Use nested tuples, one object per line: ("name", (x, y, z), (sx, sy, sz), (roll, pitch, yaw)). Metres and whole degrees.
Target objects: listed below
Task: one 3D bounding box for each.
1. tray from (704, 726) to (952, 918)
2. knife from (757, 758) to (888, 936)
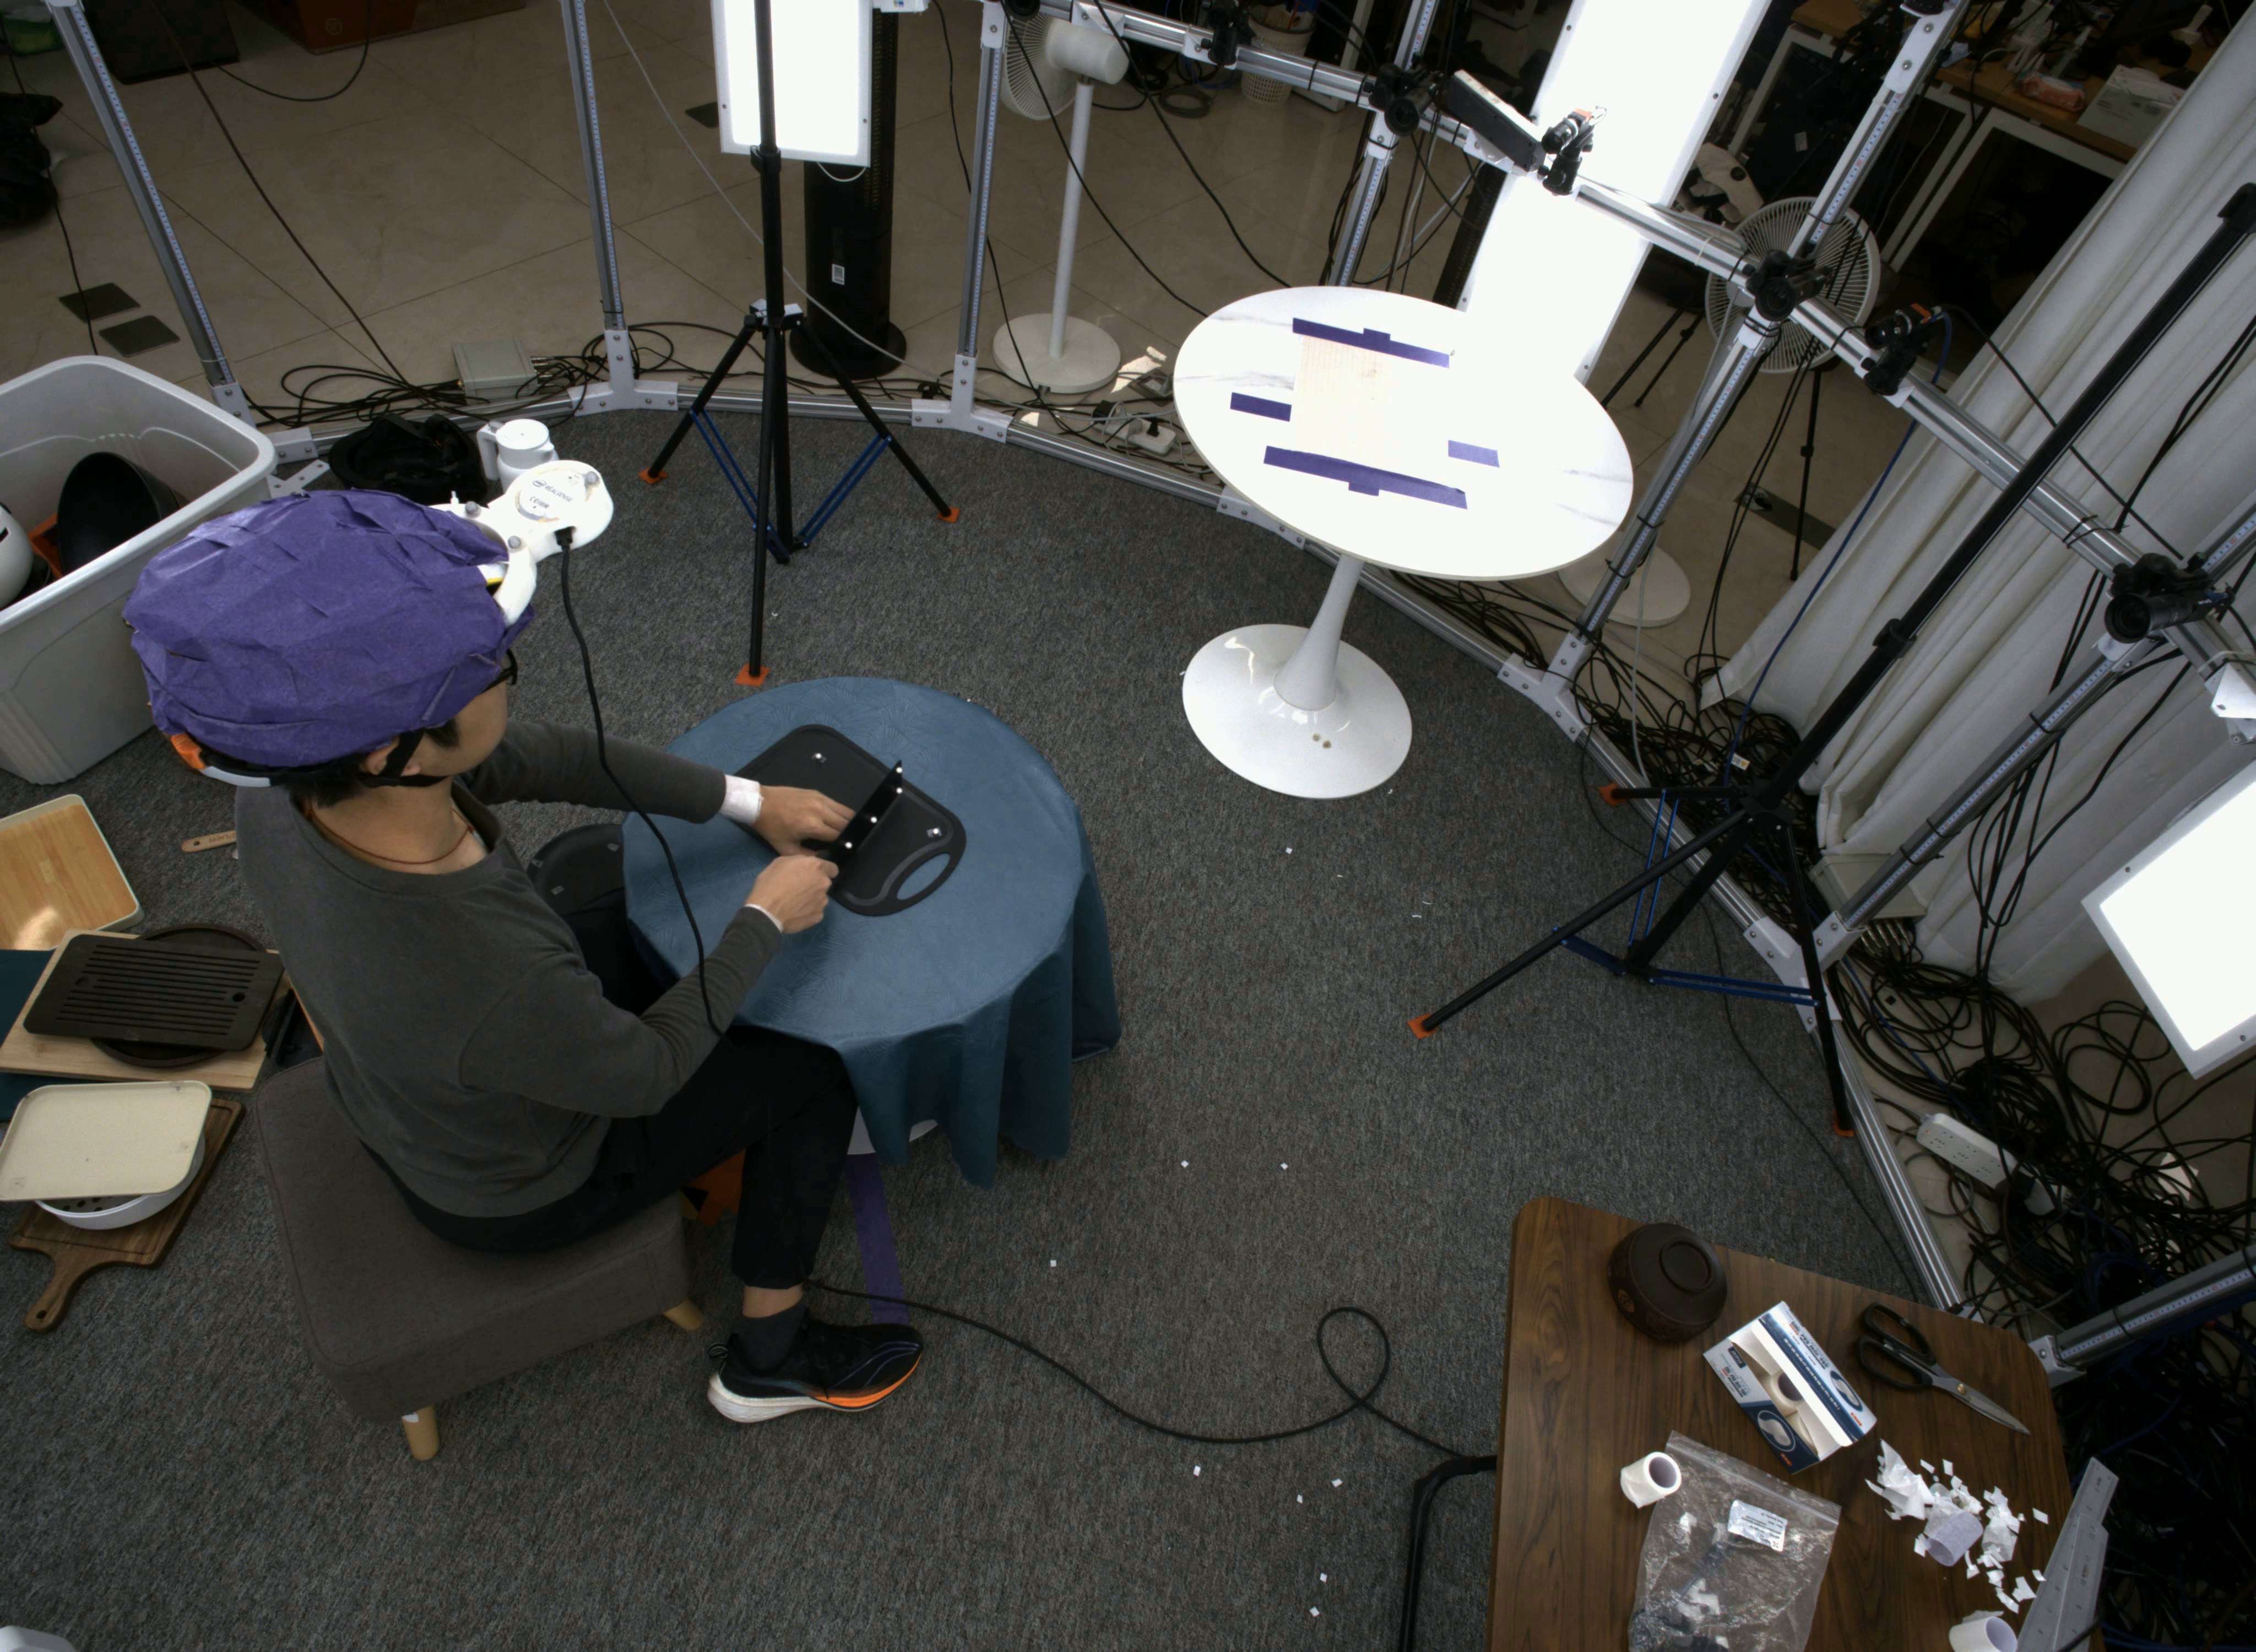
("tray", (-0.396, -0.009, 1.745), (0.319, 0.010, 0.211), (35, 54, 12))
("knife", (-0.384, 0.027, 1.660), (0.020, 0.083, 0.300), (20, 46, 12))
